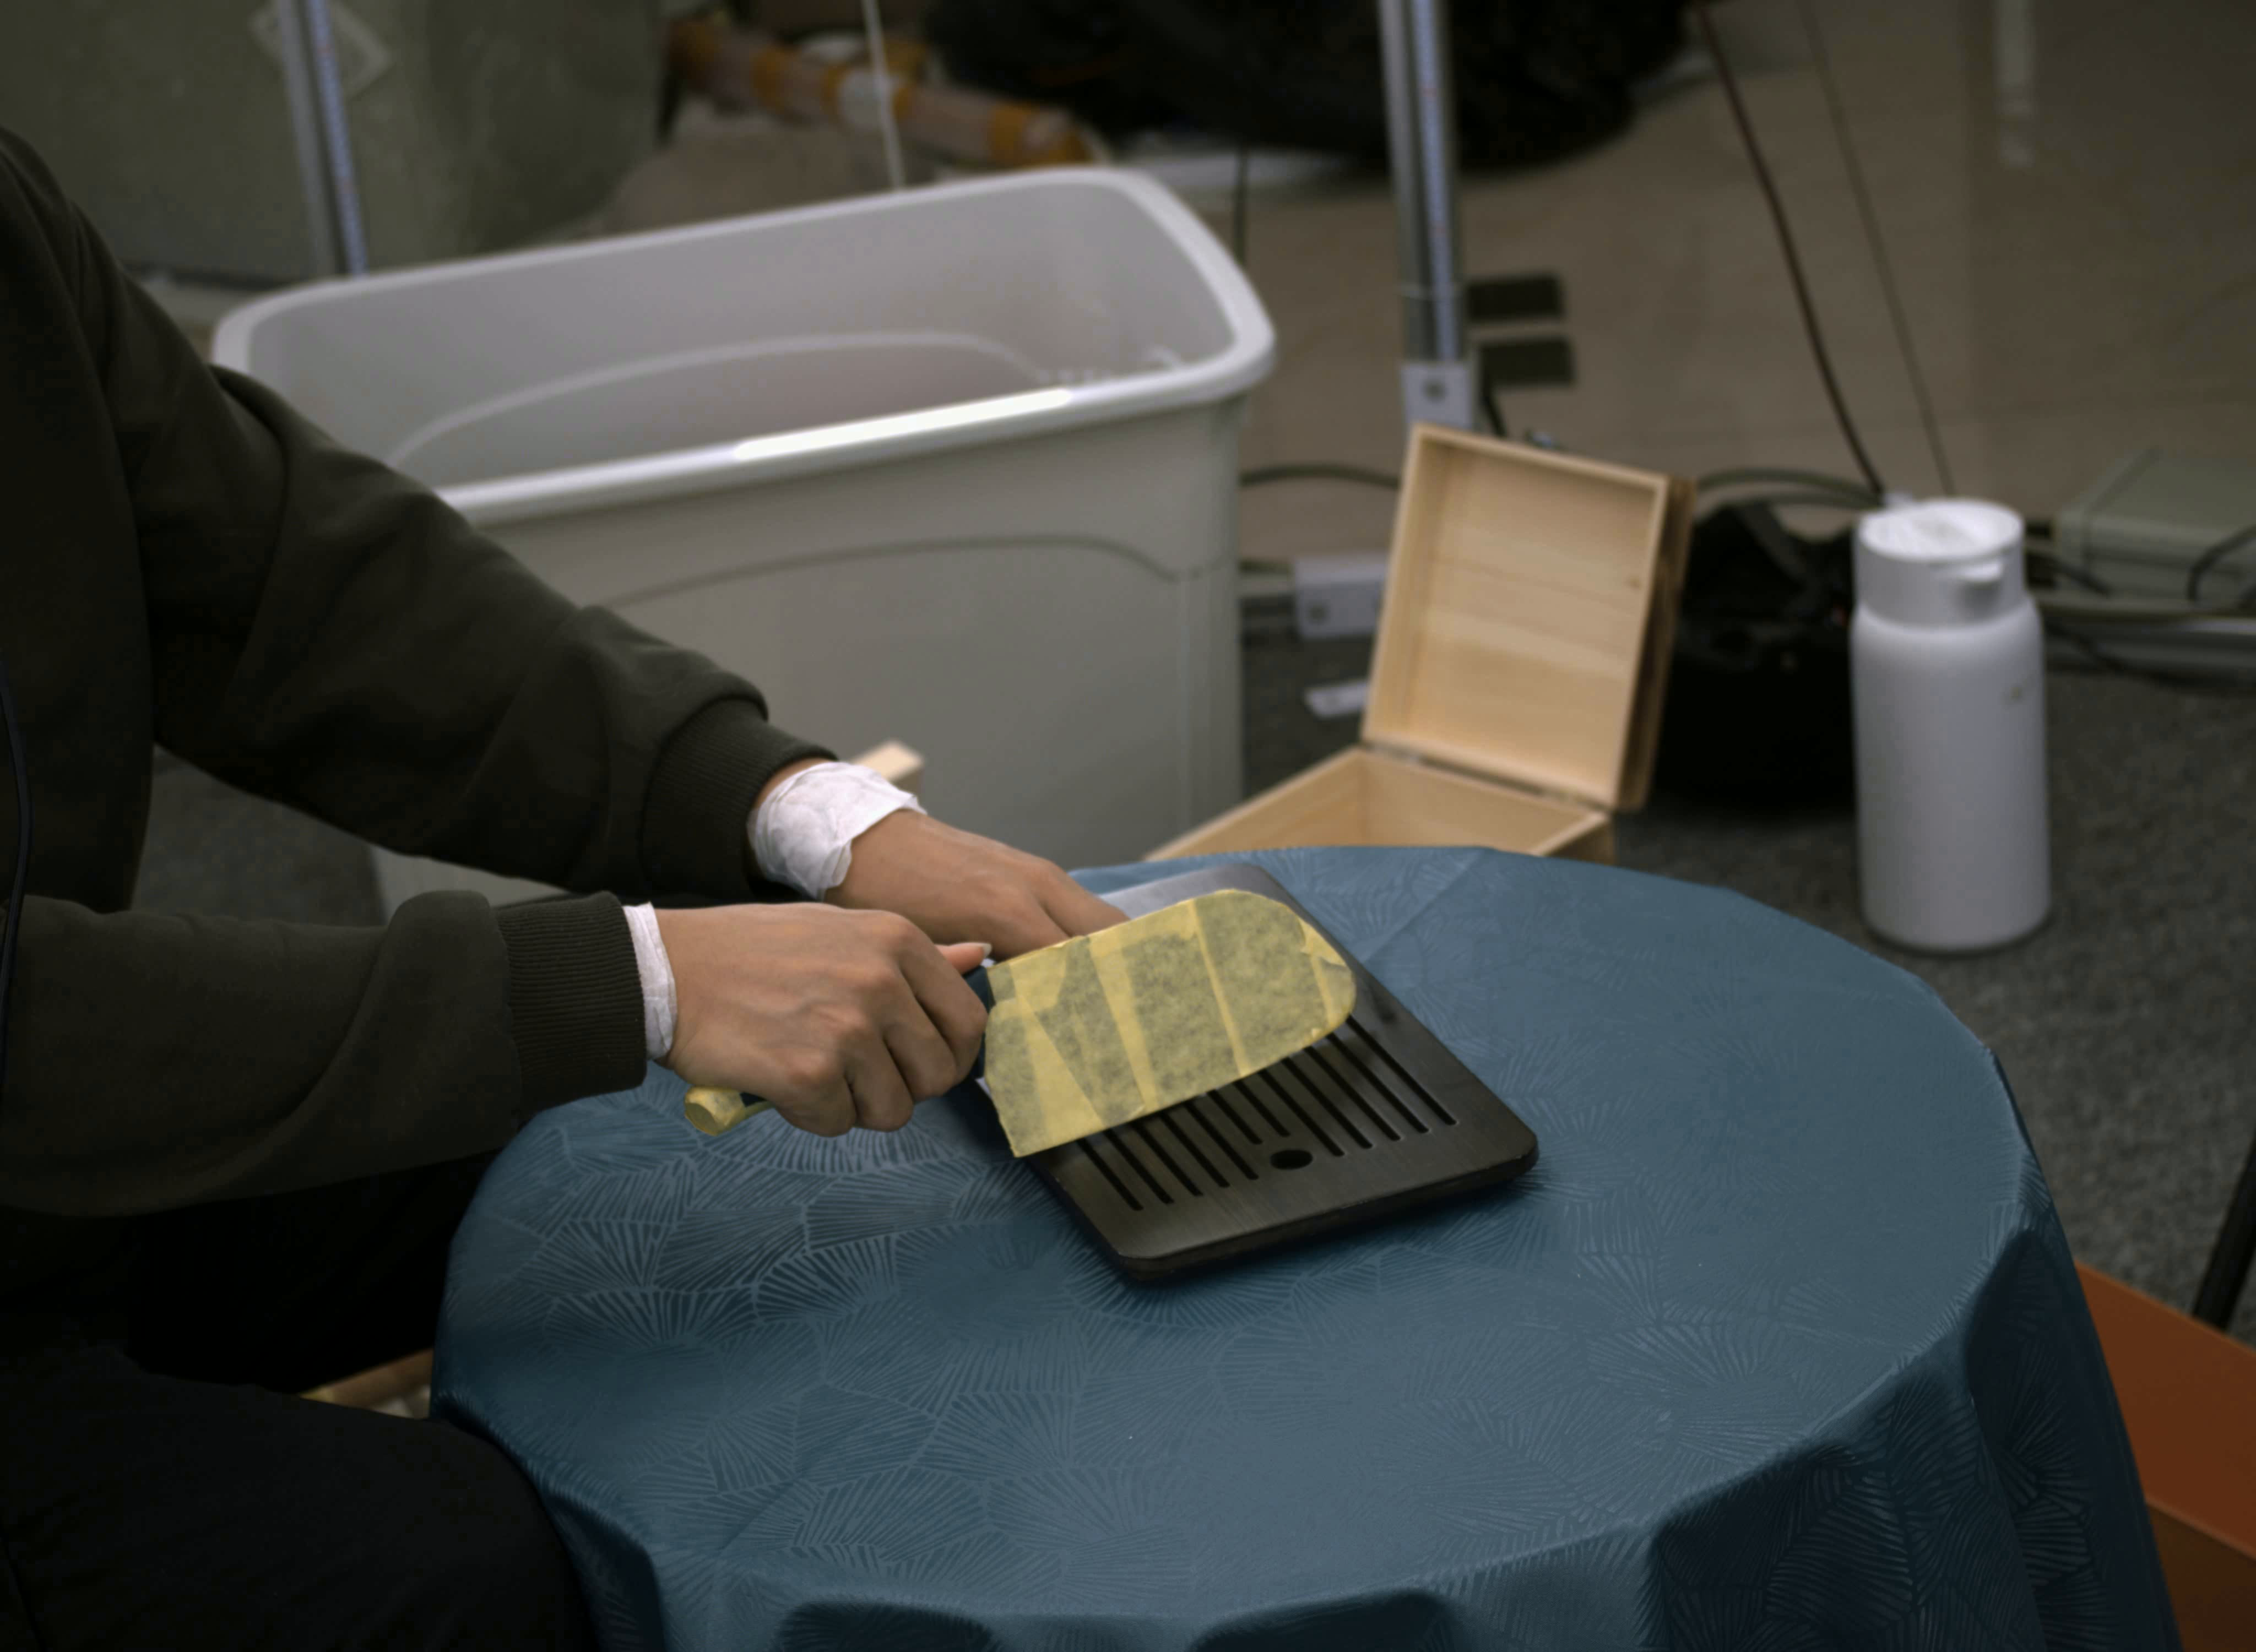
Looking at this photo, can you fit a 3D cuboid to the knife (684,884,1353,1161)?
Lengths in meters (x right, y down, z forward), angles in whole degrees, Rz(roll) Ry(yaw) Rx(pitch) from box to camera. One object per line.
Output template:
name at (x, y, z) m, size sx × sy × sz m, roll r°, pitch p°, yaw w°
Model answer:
knife at (-0.036, 0.084, 2.151) m, size 0.288 × 0.081 × 0.027 m, roll -15°, pitch -3°, yaw -27°

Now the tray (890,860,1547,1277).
tray at (0.030, 0.092, 2.223) m, size 0.169 × 0.019 × 0.302 m, roll -15°, pitch 26°, yaw -16°
